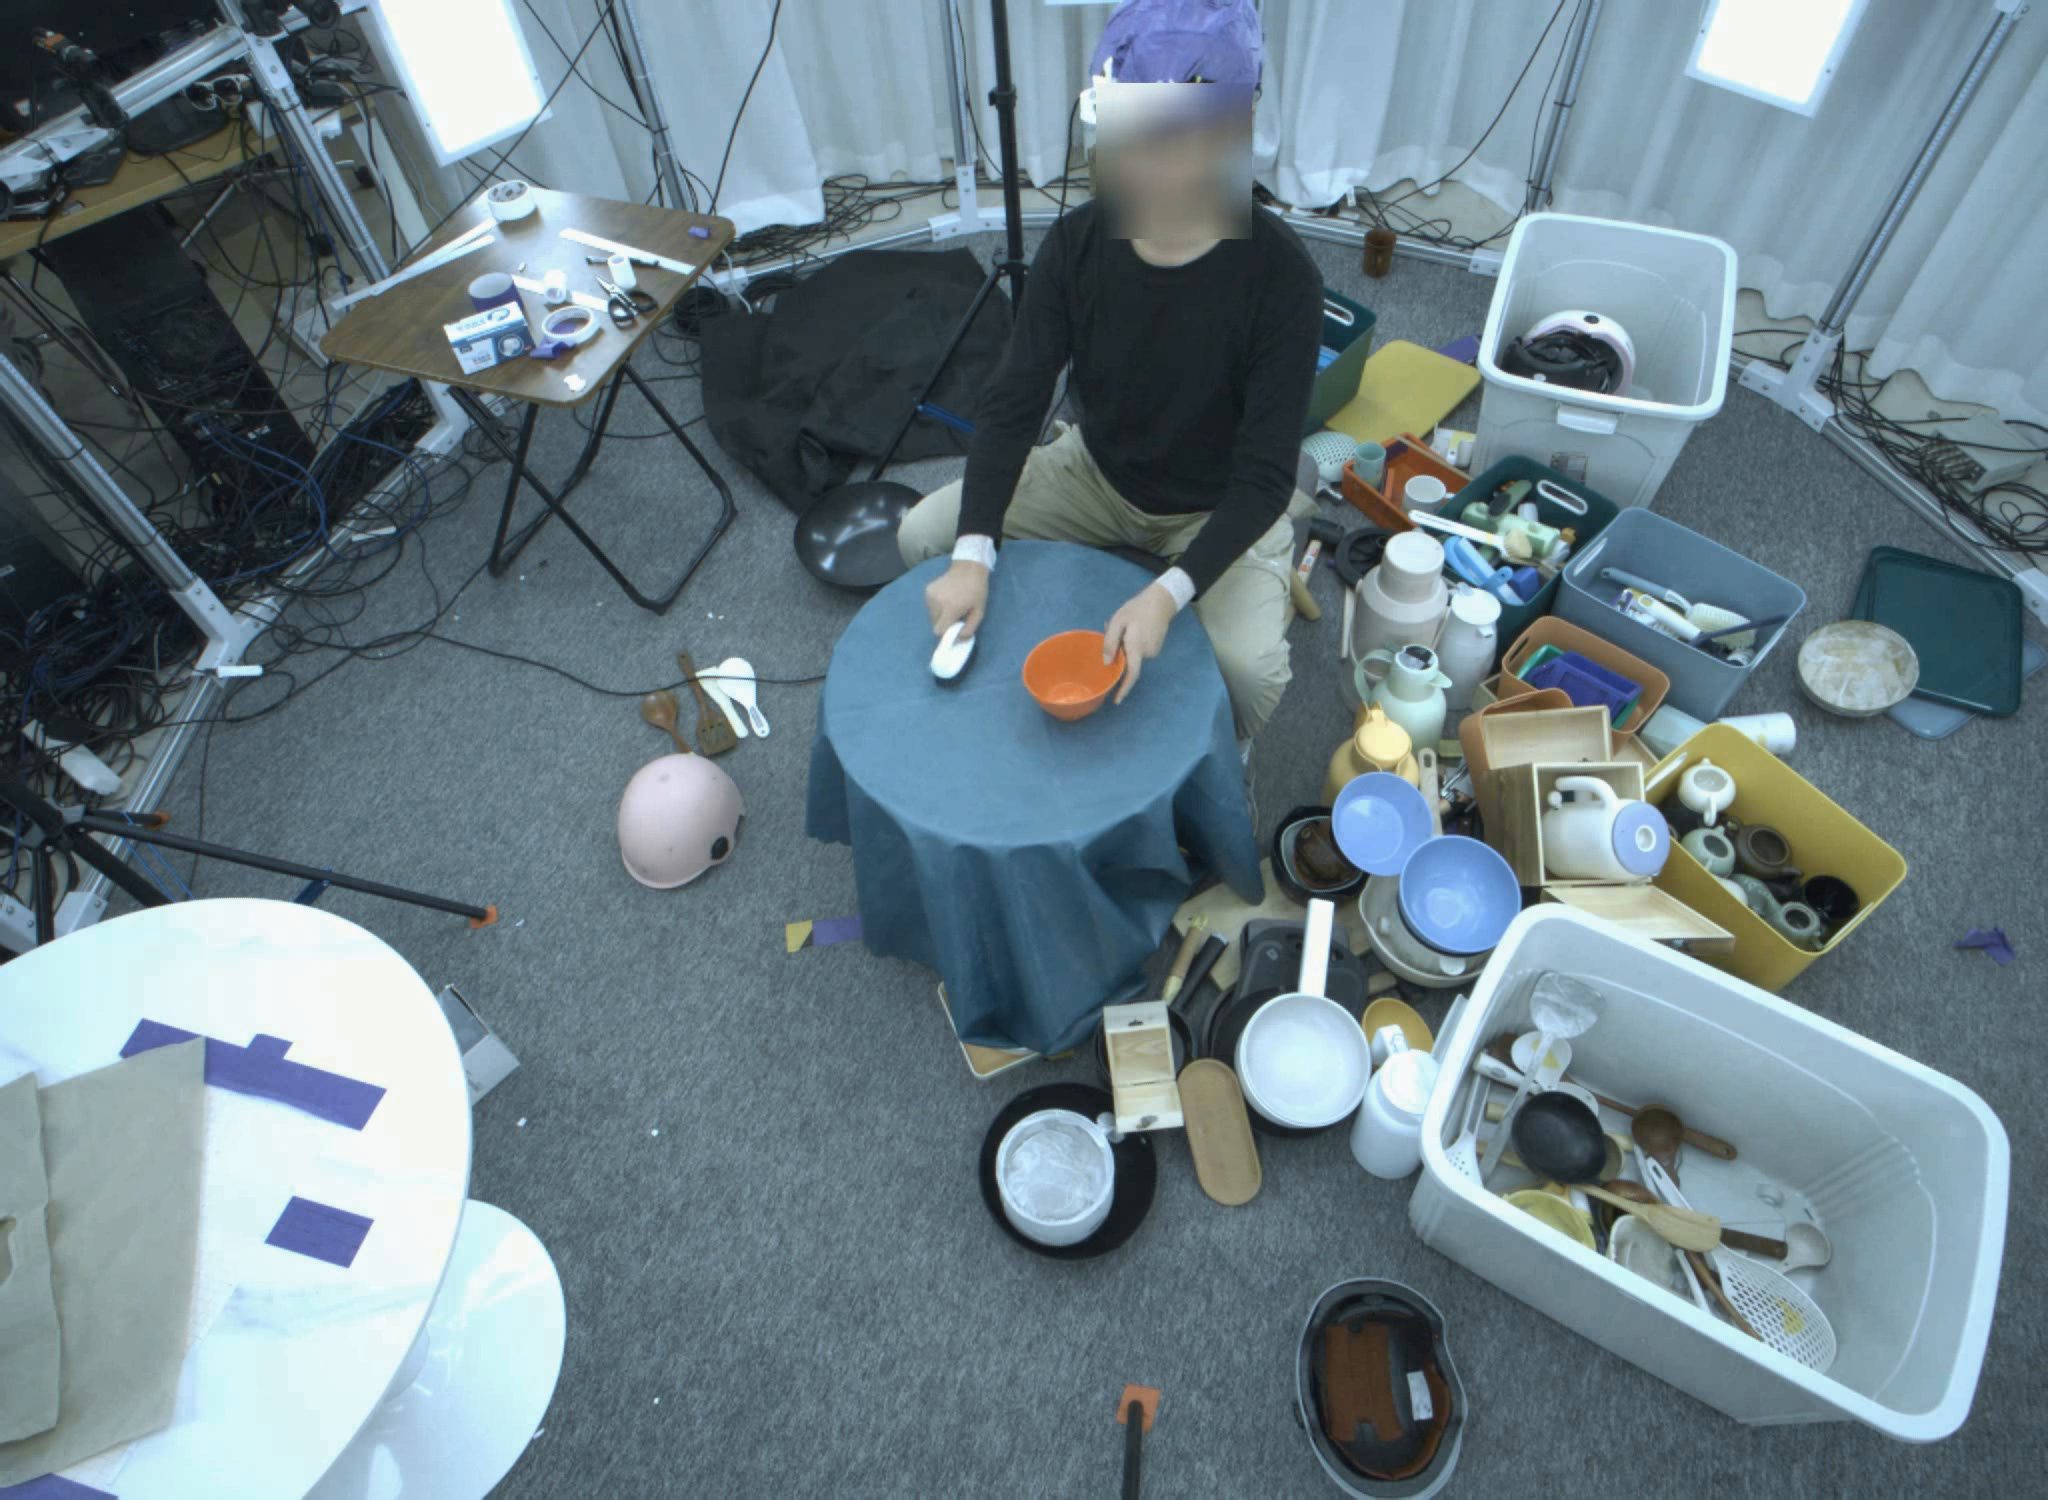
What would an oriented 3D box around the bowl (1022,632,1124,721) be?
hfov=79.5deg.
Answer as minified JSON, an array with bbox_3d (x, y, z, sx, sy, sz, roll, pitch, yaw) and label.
[{"bbox_3d":[0.071,-0.094,1.792,0.148,0.106,0.146,-1,53,2],"label":"bowl"}]

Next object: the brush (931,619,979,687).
[{"bbox_3d":[-0.108,-0.153,1.853,0.049,0.073,0.099,18,59,18],"label":"brush"}]
